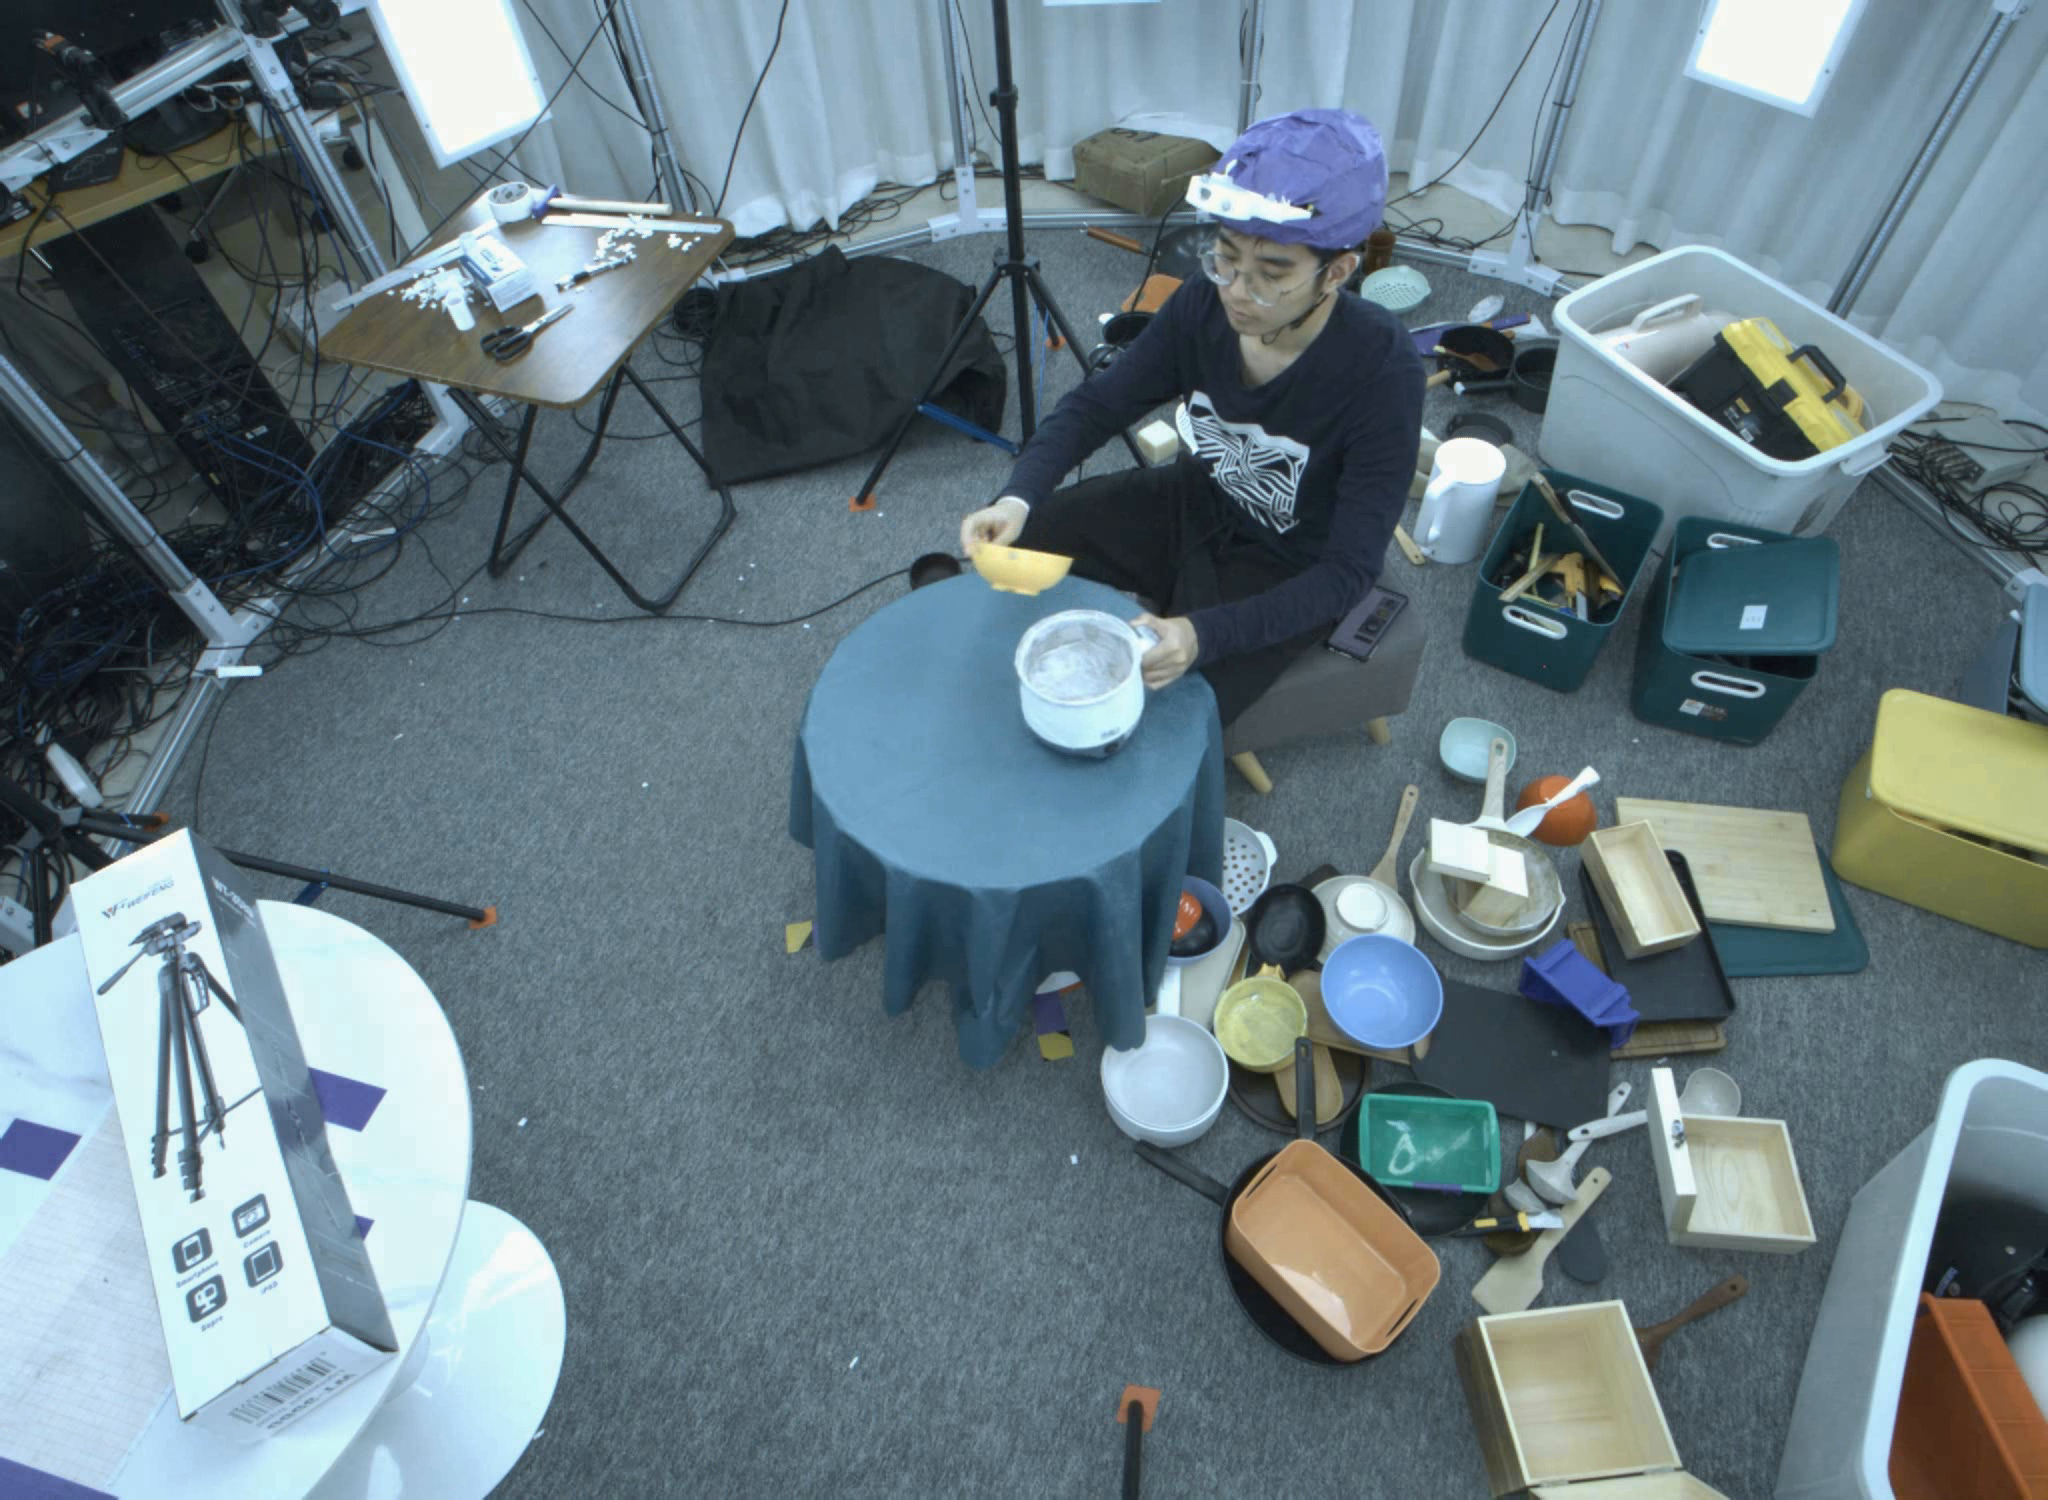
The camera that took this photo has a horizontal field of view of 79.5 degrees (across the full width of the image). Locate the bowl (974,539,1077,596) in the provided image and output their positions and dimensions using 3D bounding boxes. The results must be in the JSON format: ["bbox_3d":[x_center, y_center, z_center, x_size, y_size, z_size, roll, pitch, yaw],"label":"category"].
[{"bbox_3d":[-0.004,-0.247,1.690,0.144,0.146,0.060,14,99,12],"label":"bowl"}]

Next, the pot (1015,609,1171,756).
[{"bbox_3d":[0.106,-0.106,1.775,0.235,0.138,0.175,-26,58,-13],"label":"pot"}]
